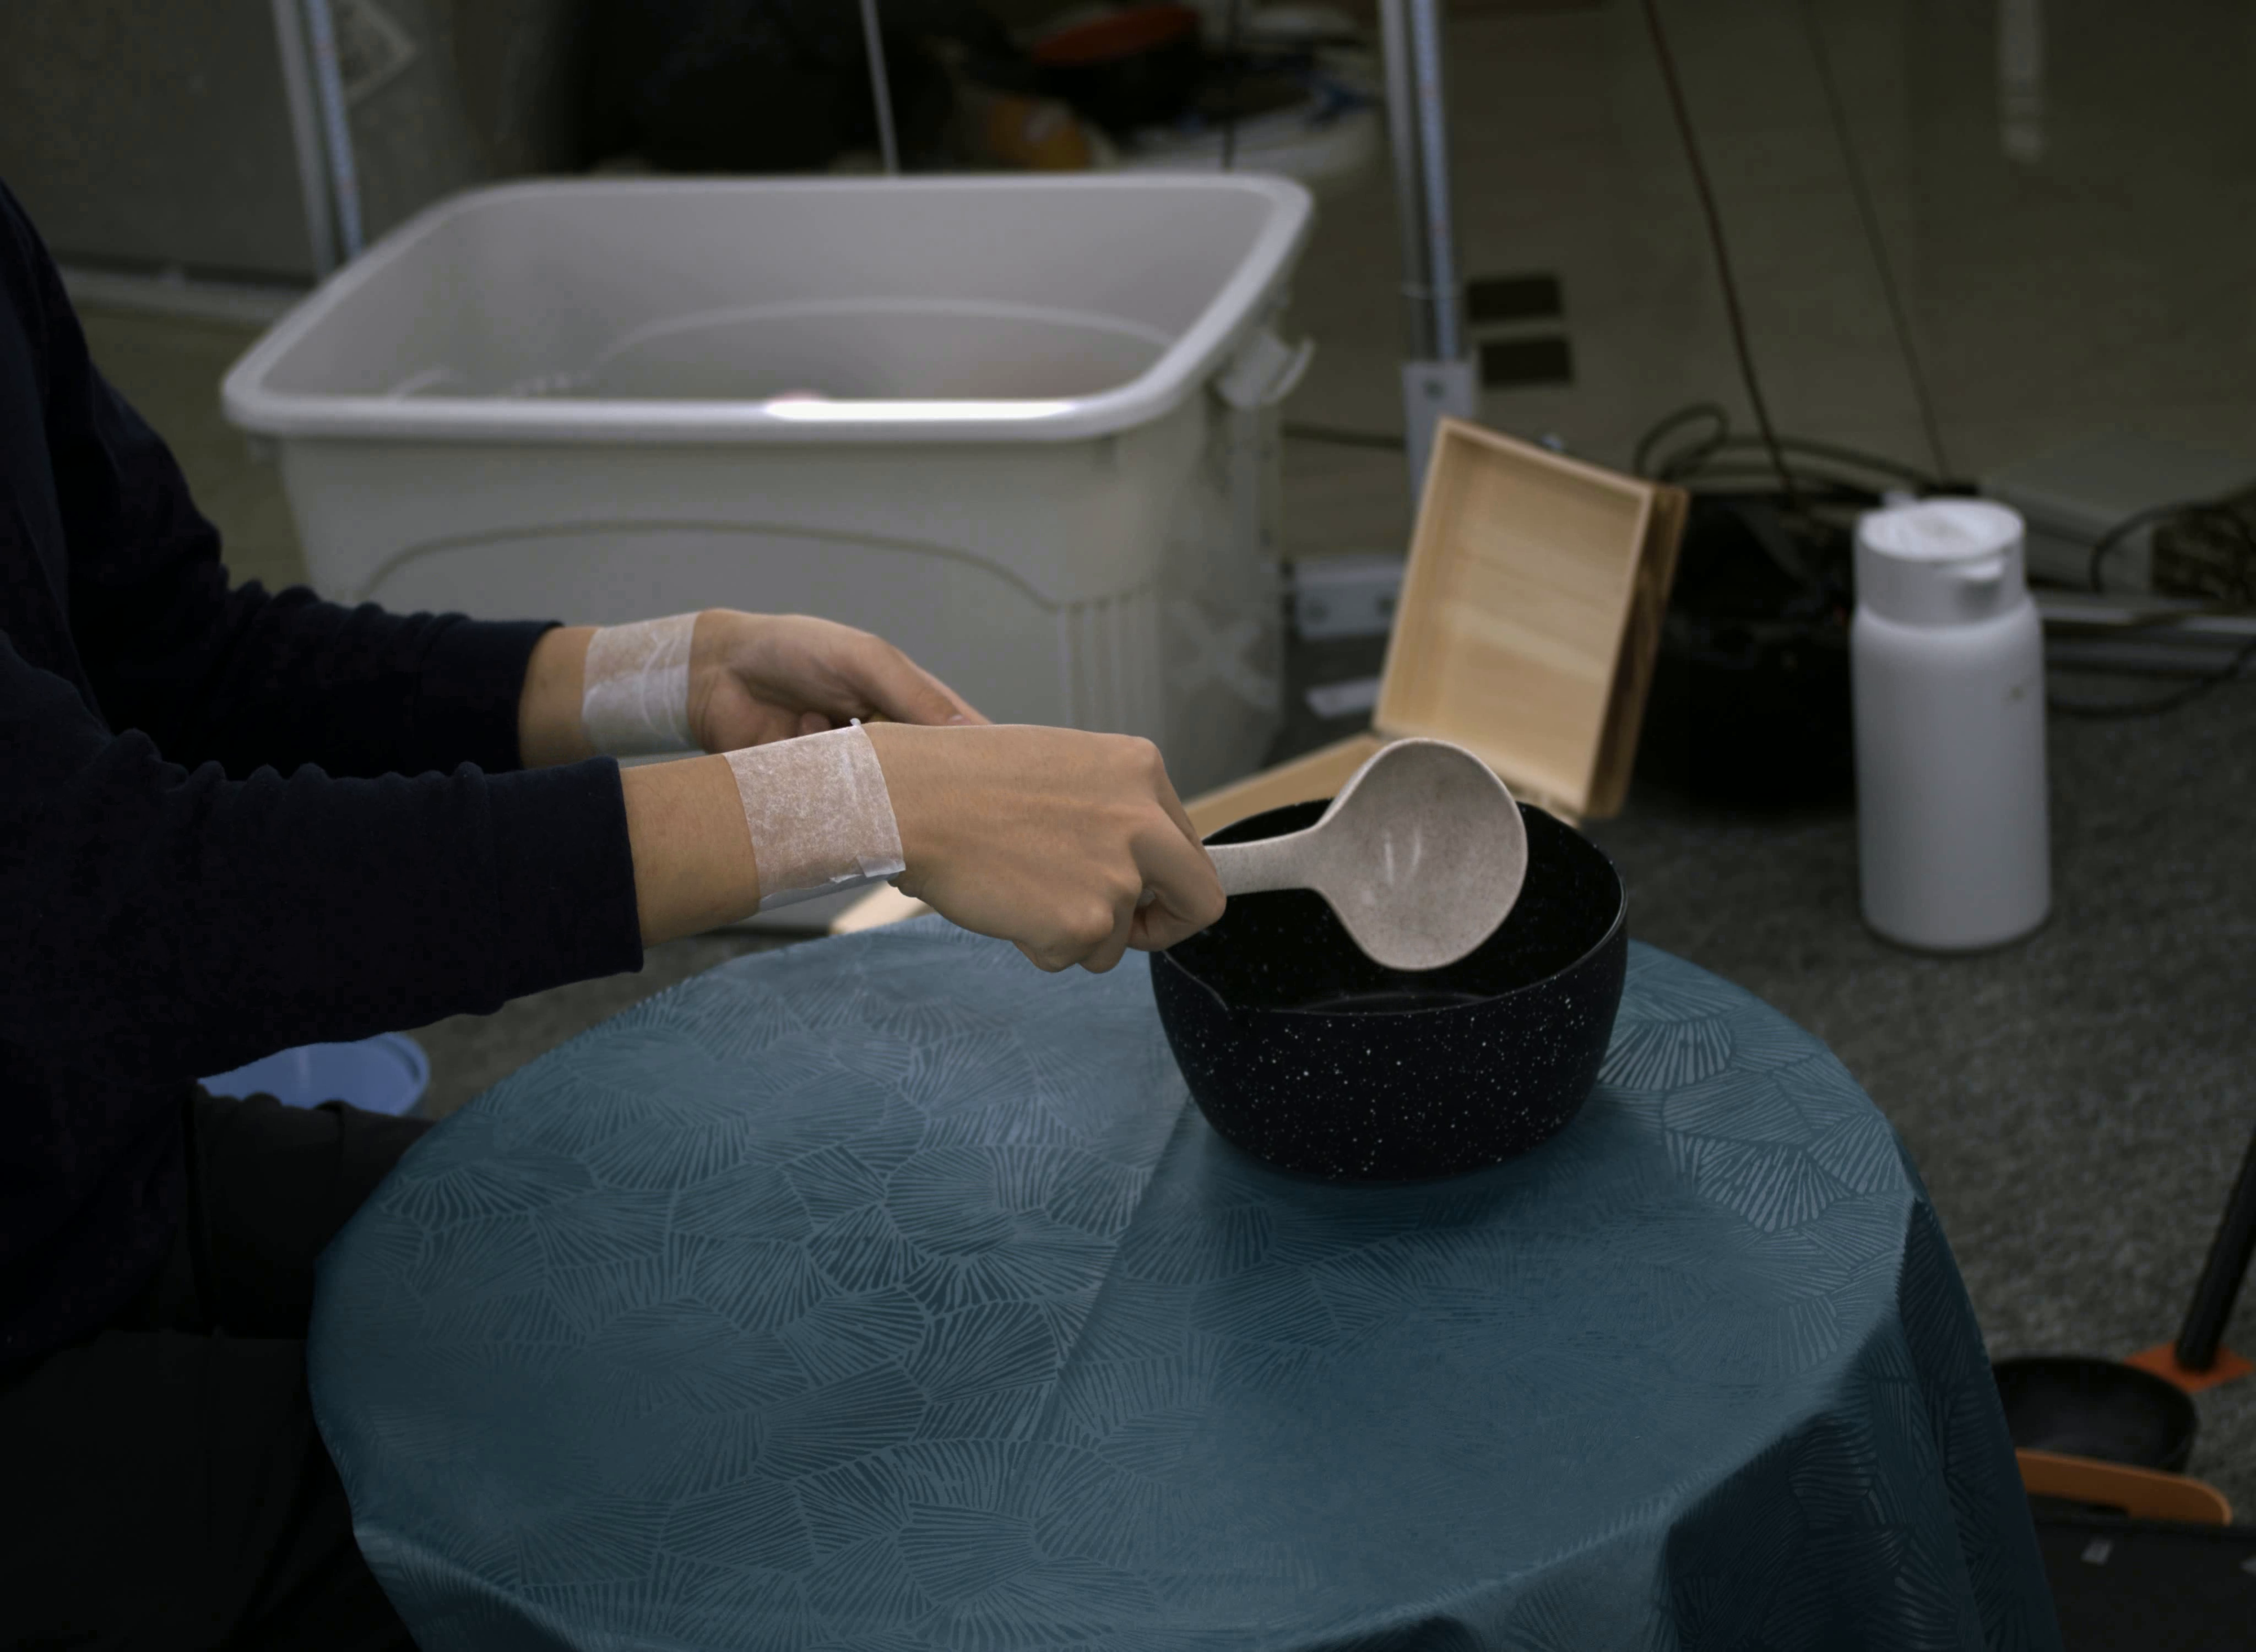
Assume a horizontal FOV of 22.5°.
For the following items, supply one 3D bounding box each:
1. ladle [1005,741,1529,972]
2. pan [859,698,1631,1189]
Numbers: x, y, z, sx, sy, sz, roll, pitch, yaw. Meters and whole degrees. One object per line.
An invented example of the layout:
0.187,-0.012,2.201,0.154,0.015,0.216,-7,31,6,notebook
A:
0.055,0.020,2.054,0.069,0.090,0.274,16,12,29,ladle
0.035,0.038,2.208,0.340,0.110,0.205,16,34,31,pan
